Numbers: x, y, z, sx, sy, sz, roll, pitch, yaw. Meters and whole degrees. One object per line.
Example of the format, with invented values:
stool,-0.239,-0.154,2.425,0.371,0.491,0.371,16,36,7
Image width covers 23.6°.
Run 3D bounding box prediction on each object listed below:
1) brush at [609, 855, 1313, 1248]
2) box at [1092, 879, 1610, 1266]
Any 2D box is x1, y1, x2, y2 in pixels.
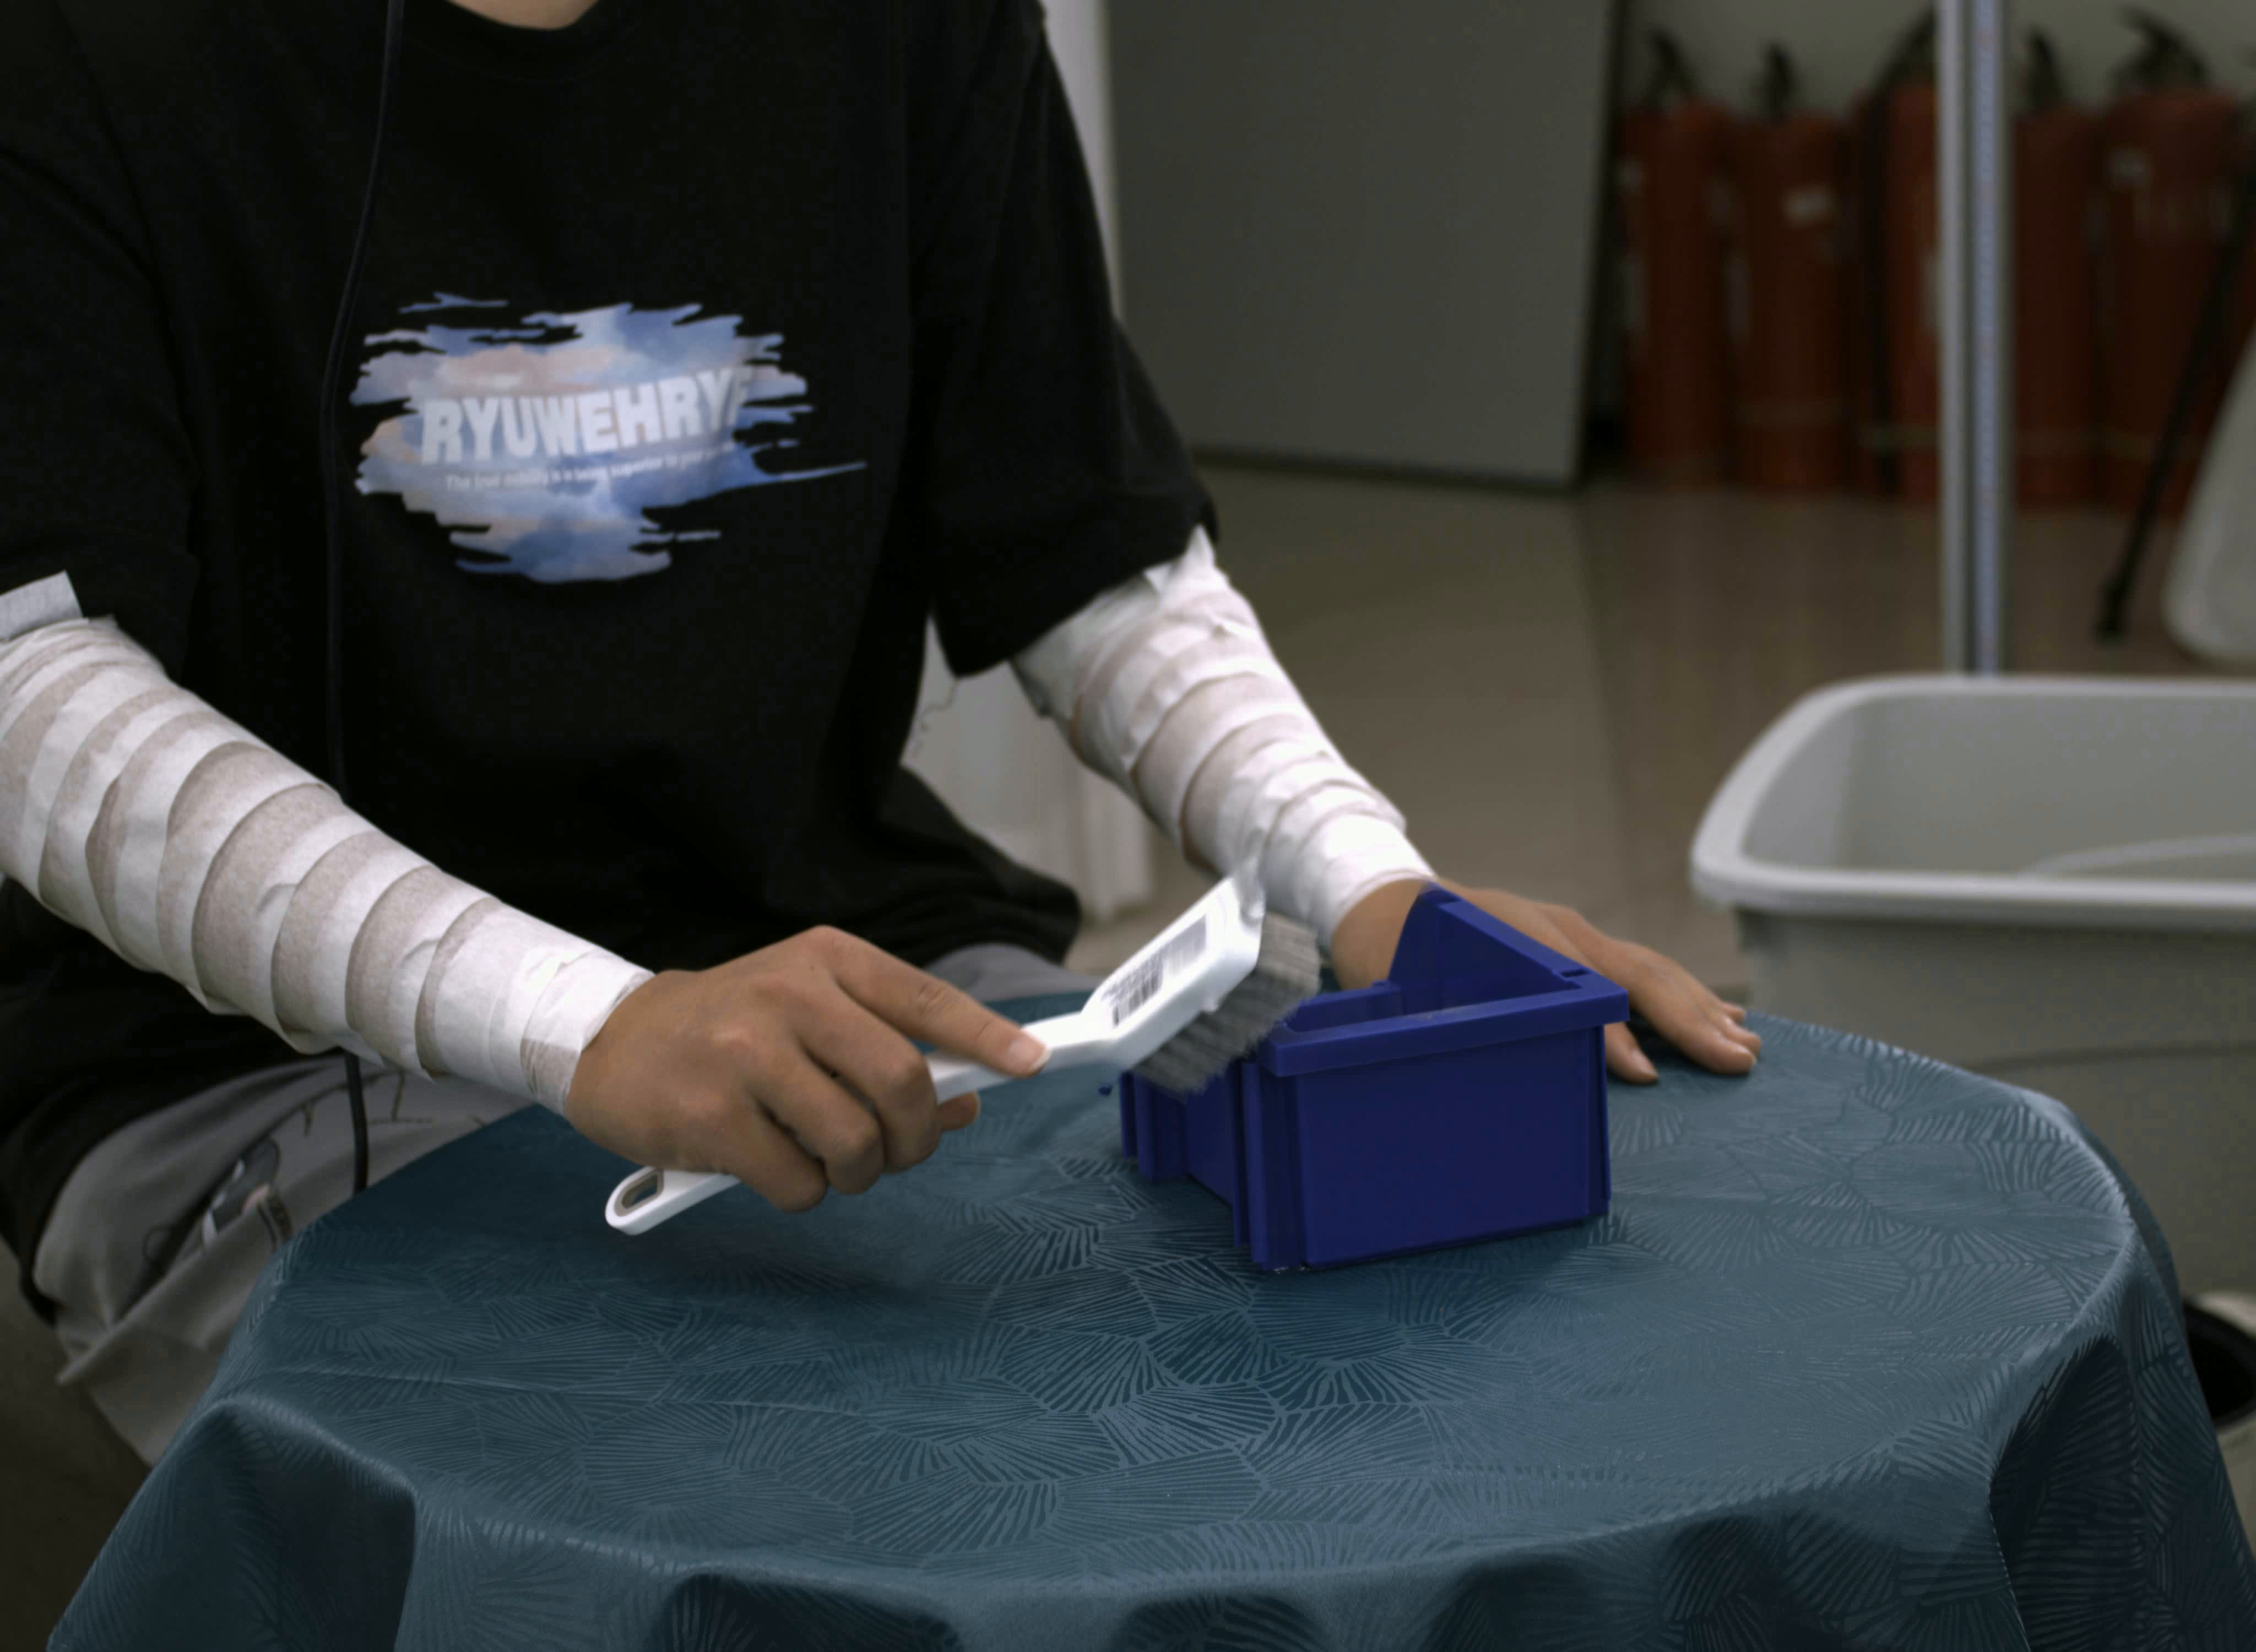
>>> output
brush,-0.050,0.083,1.686,0.243,0.050,0.034,-29,33,13
box,0.068,0.077,1.762,0.122,0.083,0.181,-8,15,-16
